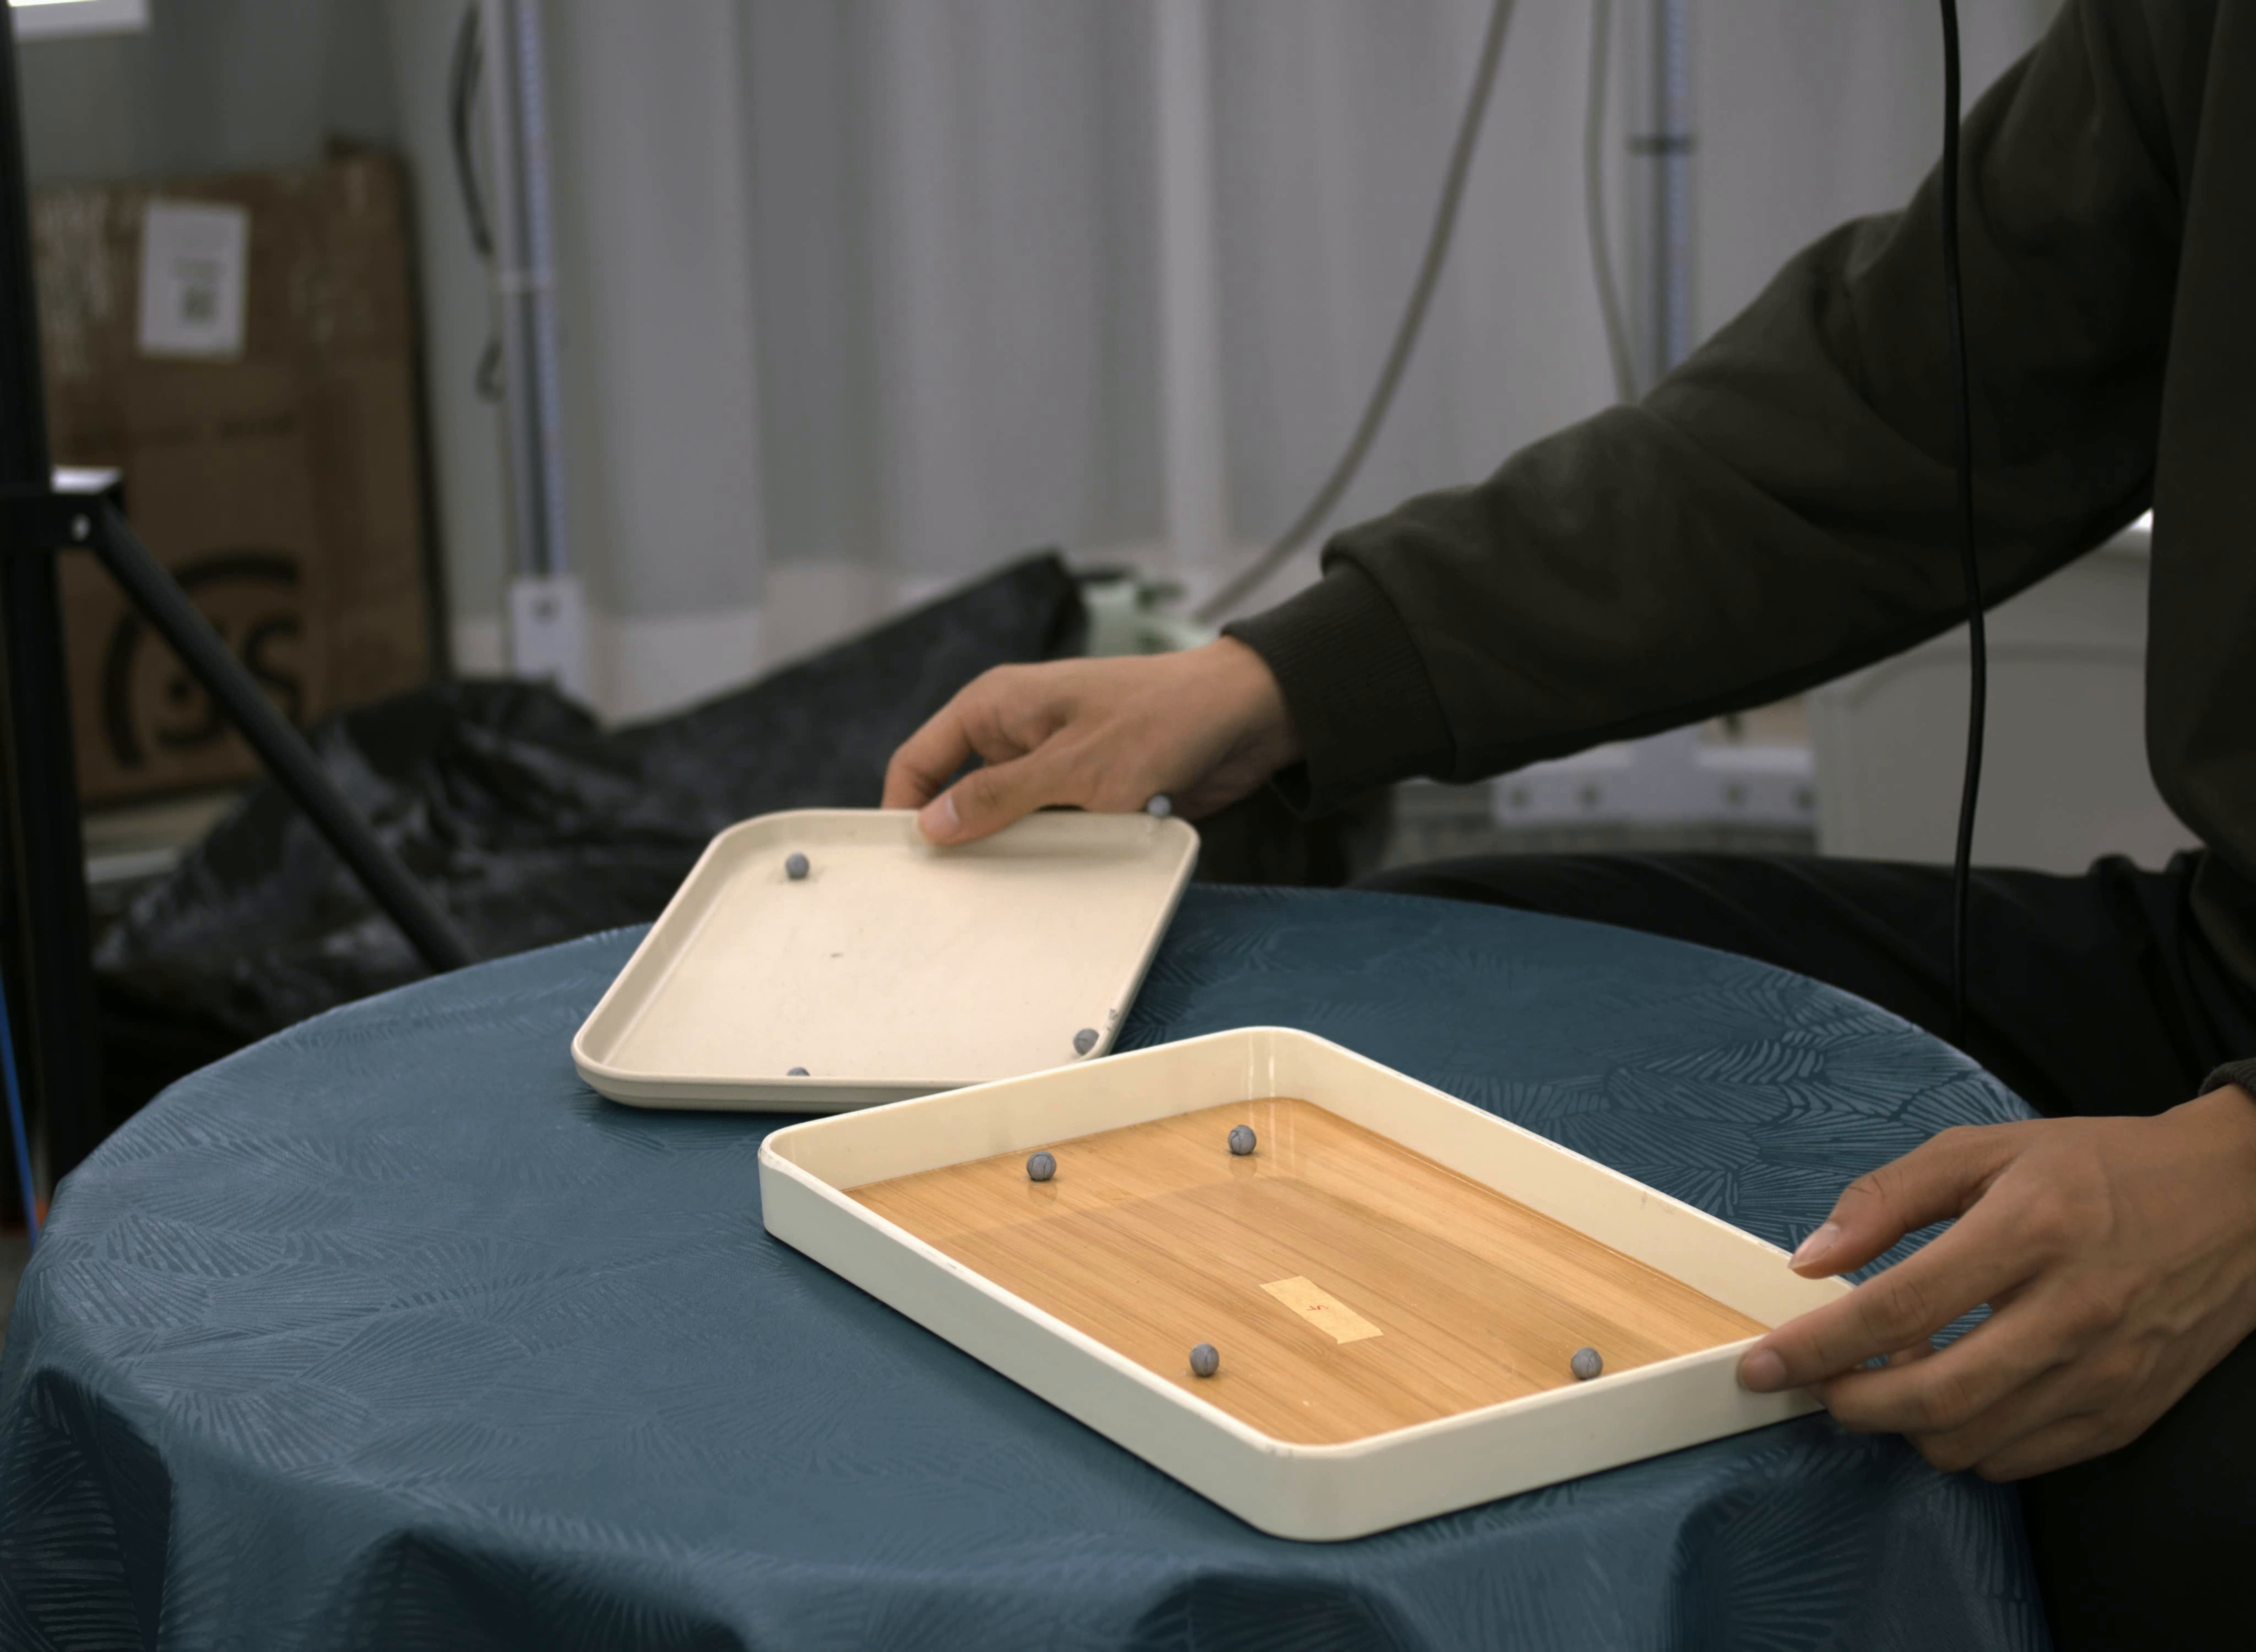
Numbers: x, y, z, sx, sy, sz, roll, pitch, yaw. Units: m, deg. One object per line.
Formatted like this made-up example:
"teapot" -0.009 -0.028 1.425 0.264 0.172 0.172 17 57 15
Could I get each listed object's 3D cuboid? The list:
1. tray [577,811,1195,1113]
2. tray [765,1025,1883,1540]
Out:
"tray" -0.074 0.044 1.736 0.172 0.017 0.239 -1 20 12
"tray" 0.047 0.120 1.463 0.187 0.027 0.307 -11 18 -29
